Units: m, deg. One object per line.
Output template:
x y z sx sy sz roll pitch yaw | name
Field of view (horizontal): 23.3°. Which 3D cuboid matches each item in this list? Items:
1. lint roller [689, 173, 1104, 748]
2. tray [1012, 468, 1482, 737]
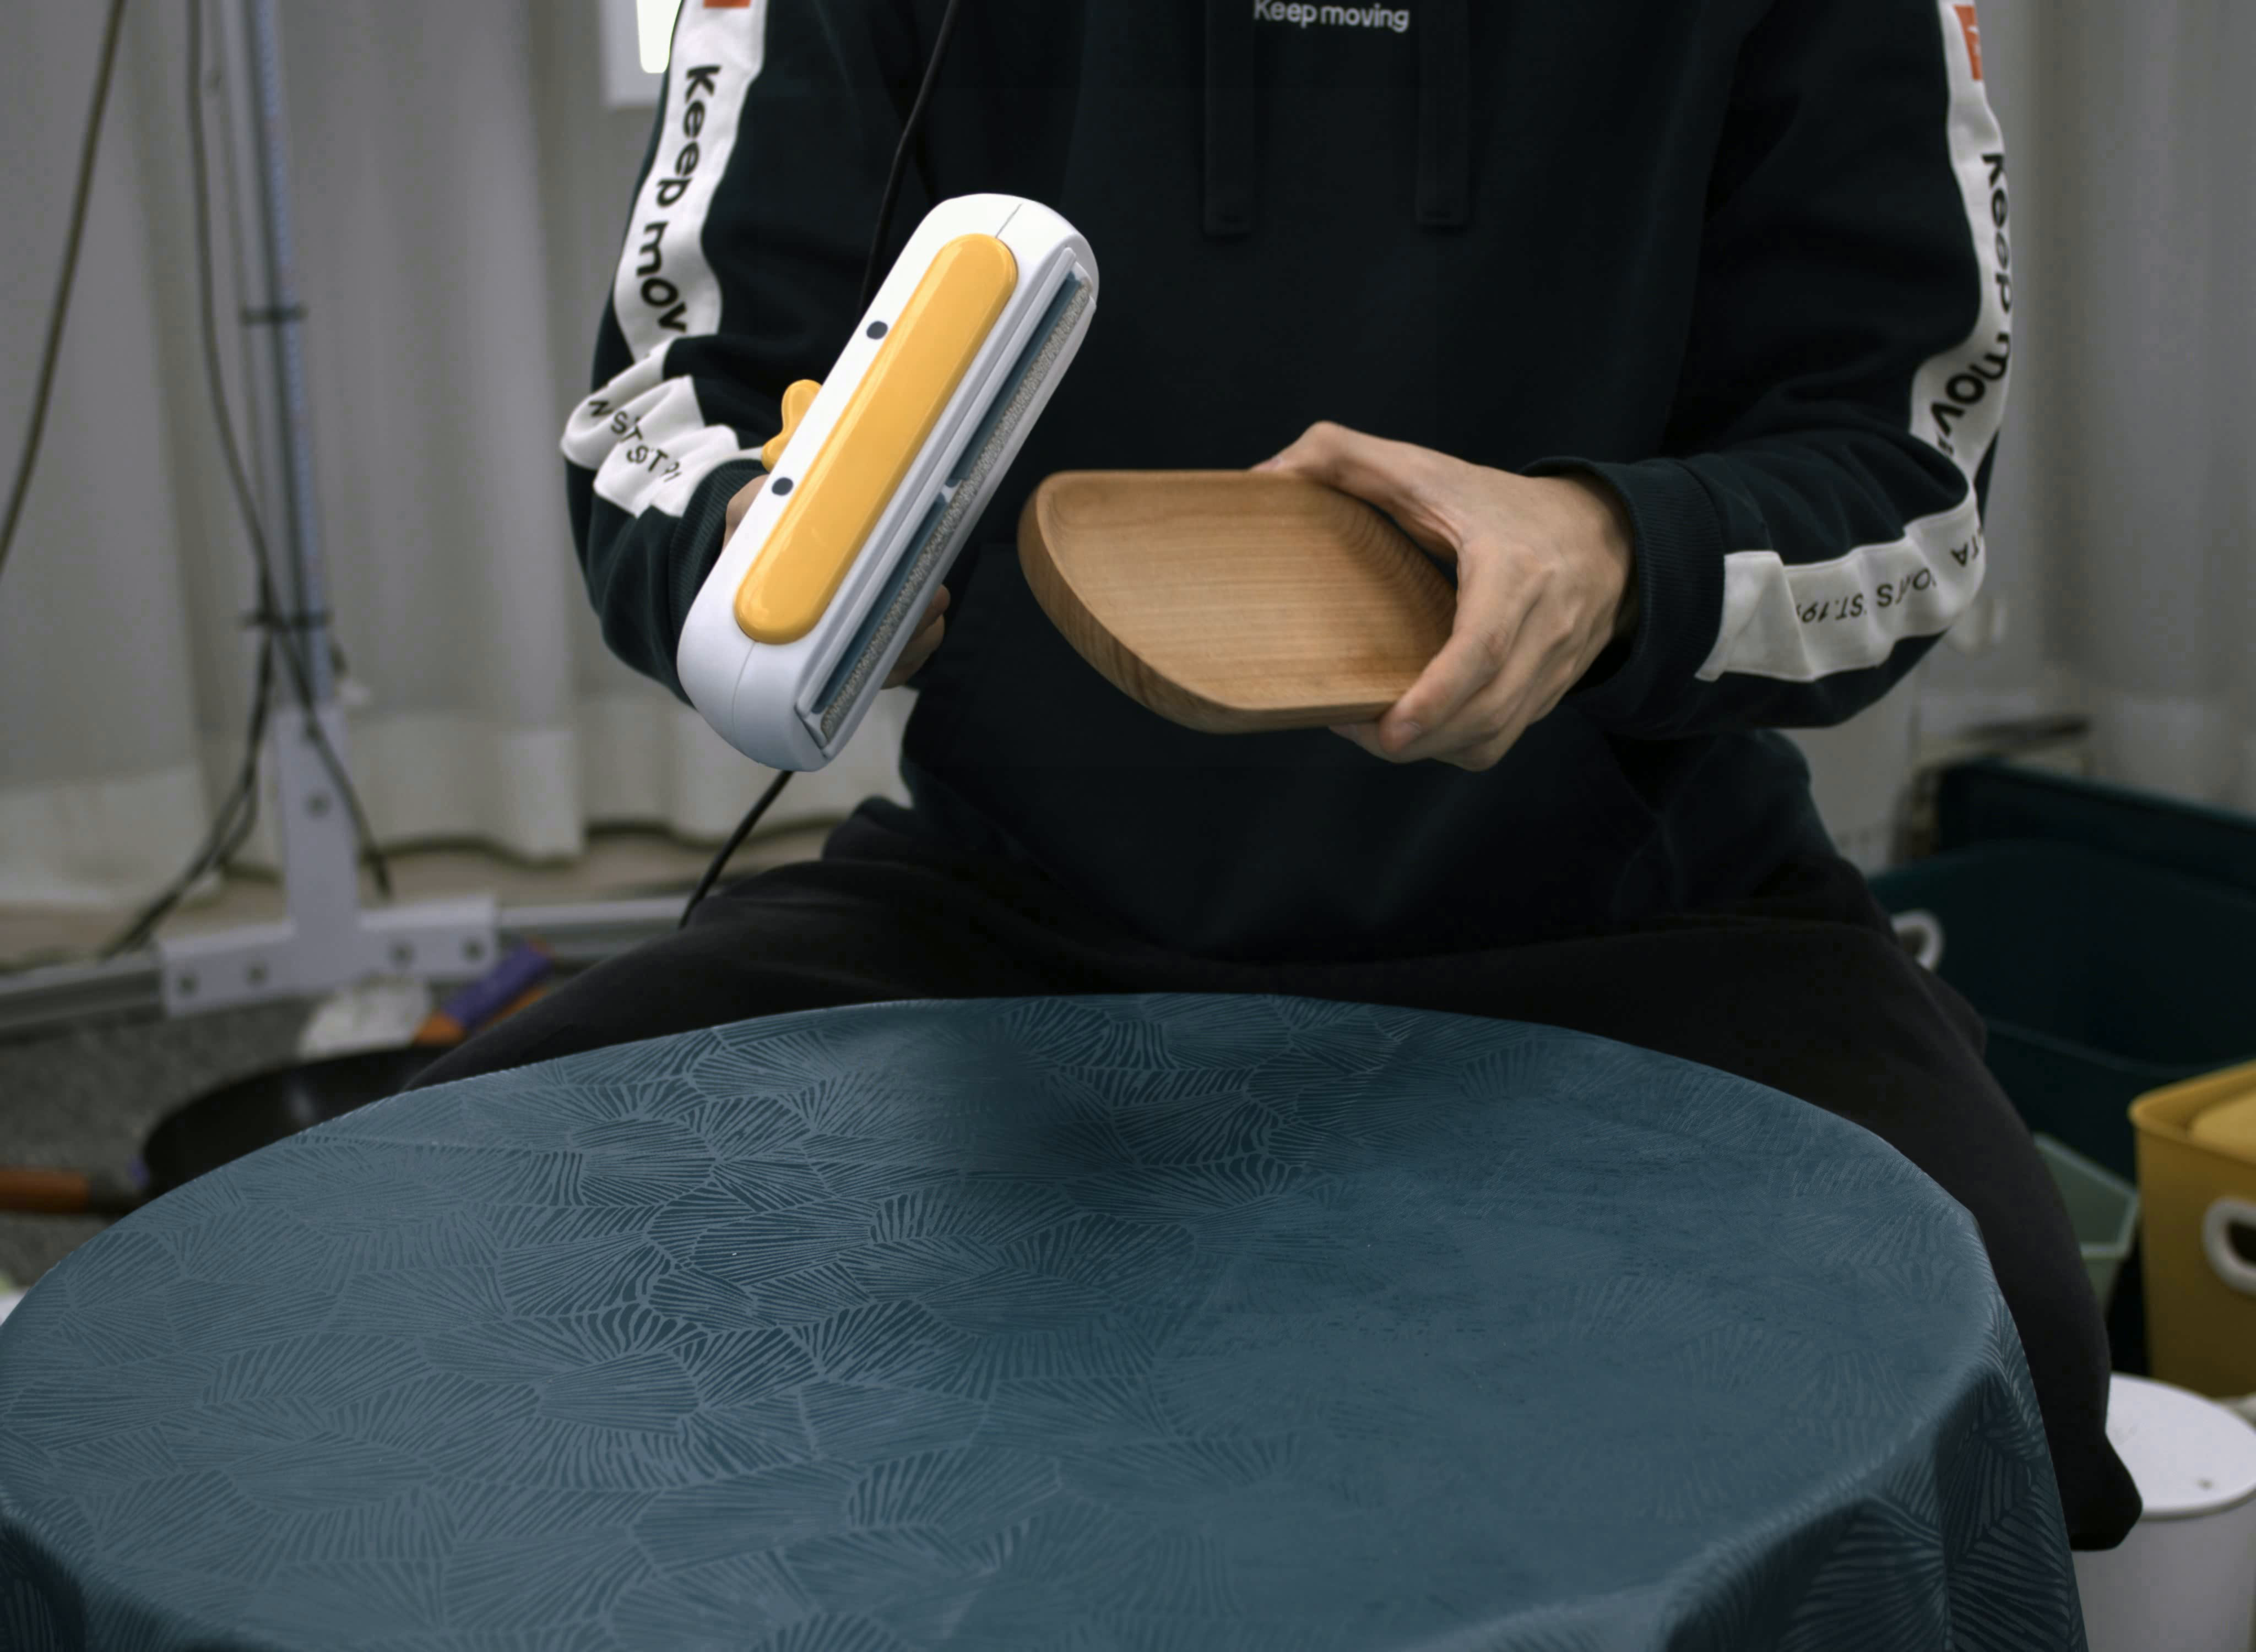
-0.073 -0.094 1.729 0.074 0.194 0.190 22 -20 11 | lint roller
0.039 -0.071 1.733 0.102 0.020 0.230 52 28 19 | tray
